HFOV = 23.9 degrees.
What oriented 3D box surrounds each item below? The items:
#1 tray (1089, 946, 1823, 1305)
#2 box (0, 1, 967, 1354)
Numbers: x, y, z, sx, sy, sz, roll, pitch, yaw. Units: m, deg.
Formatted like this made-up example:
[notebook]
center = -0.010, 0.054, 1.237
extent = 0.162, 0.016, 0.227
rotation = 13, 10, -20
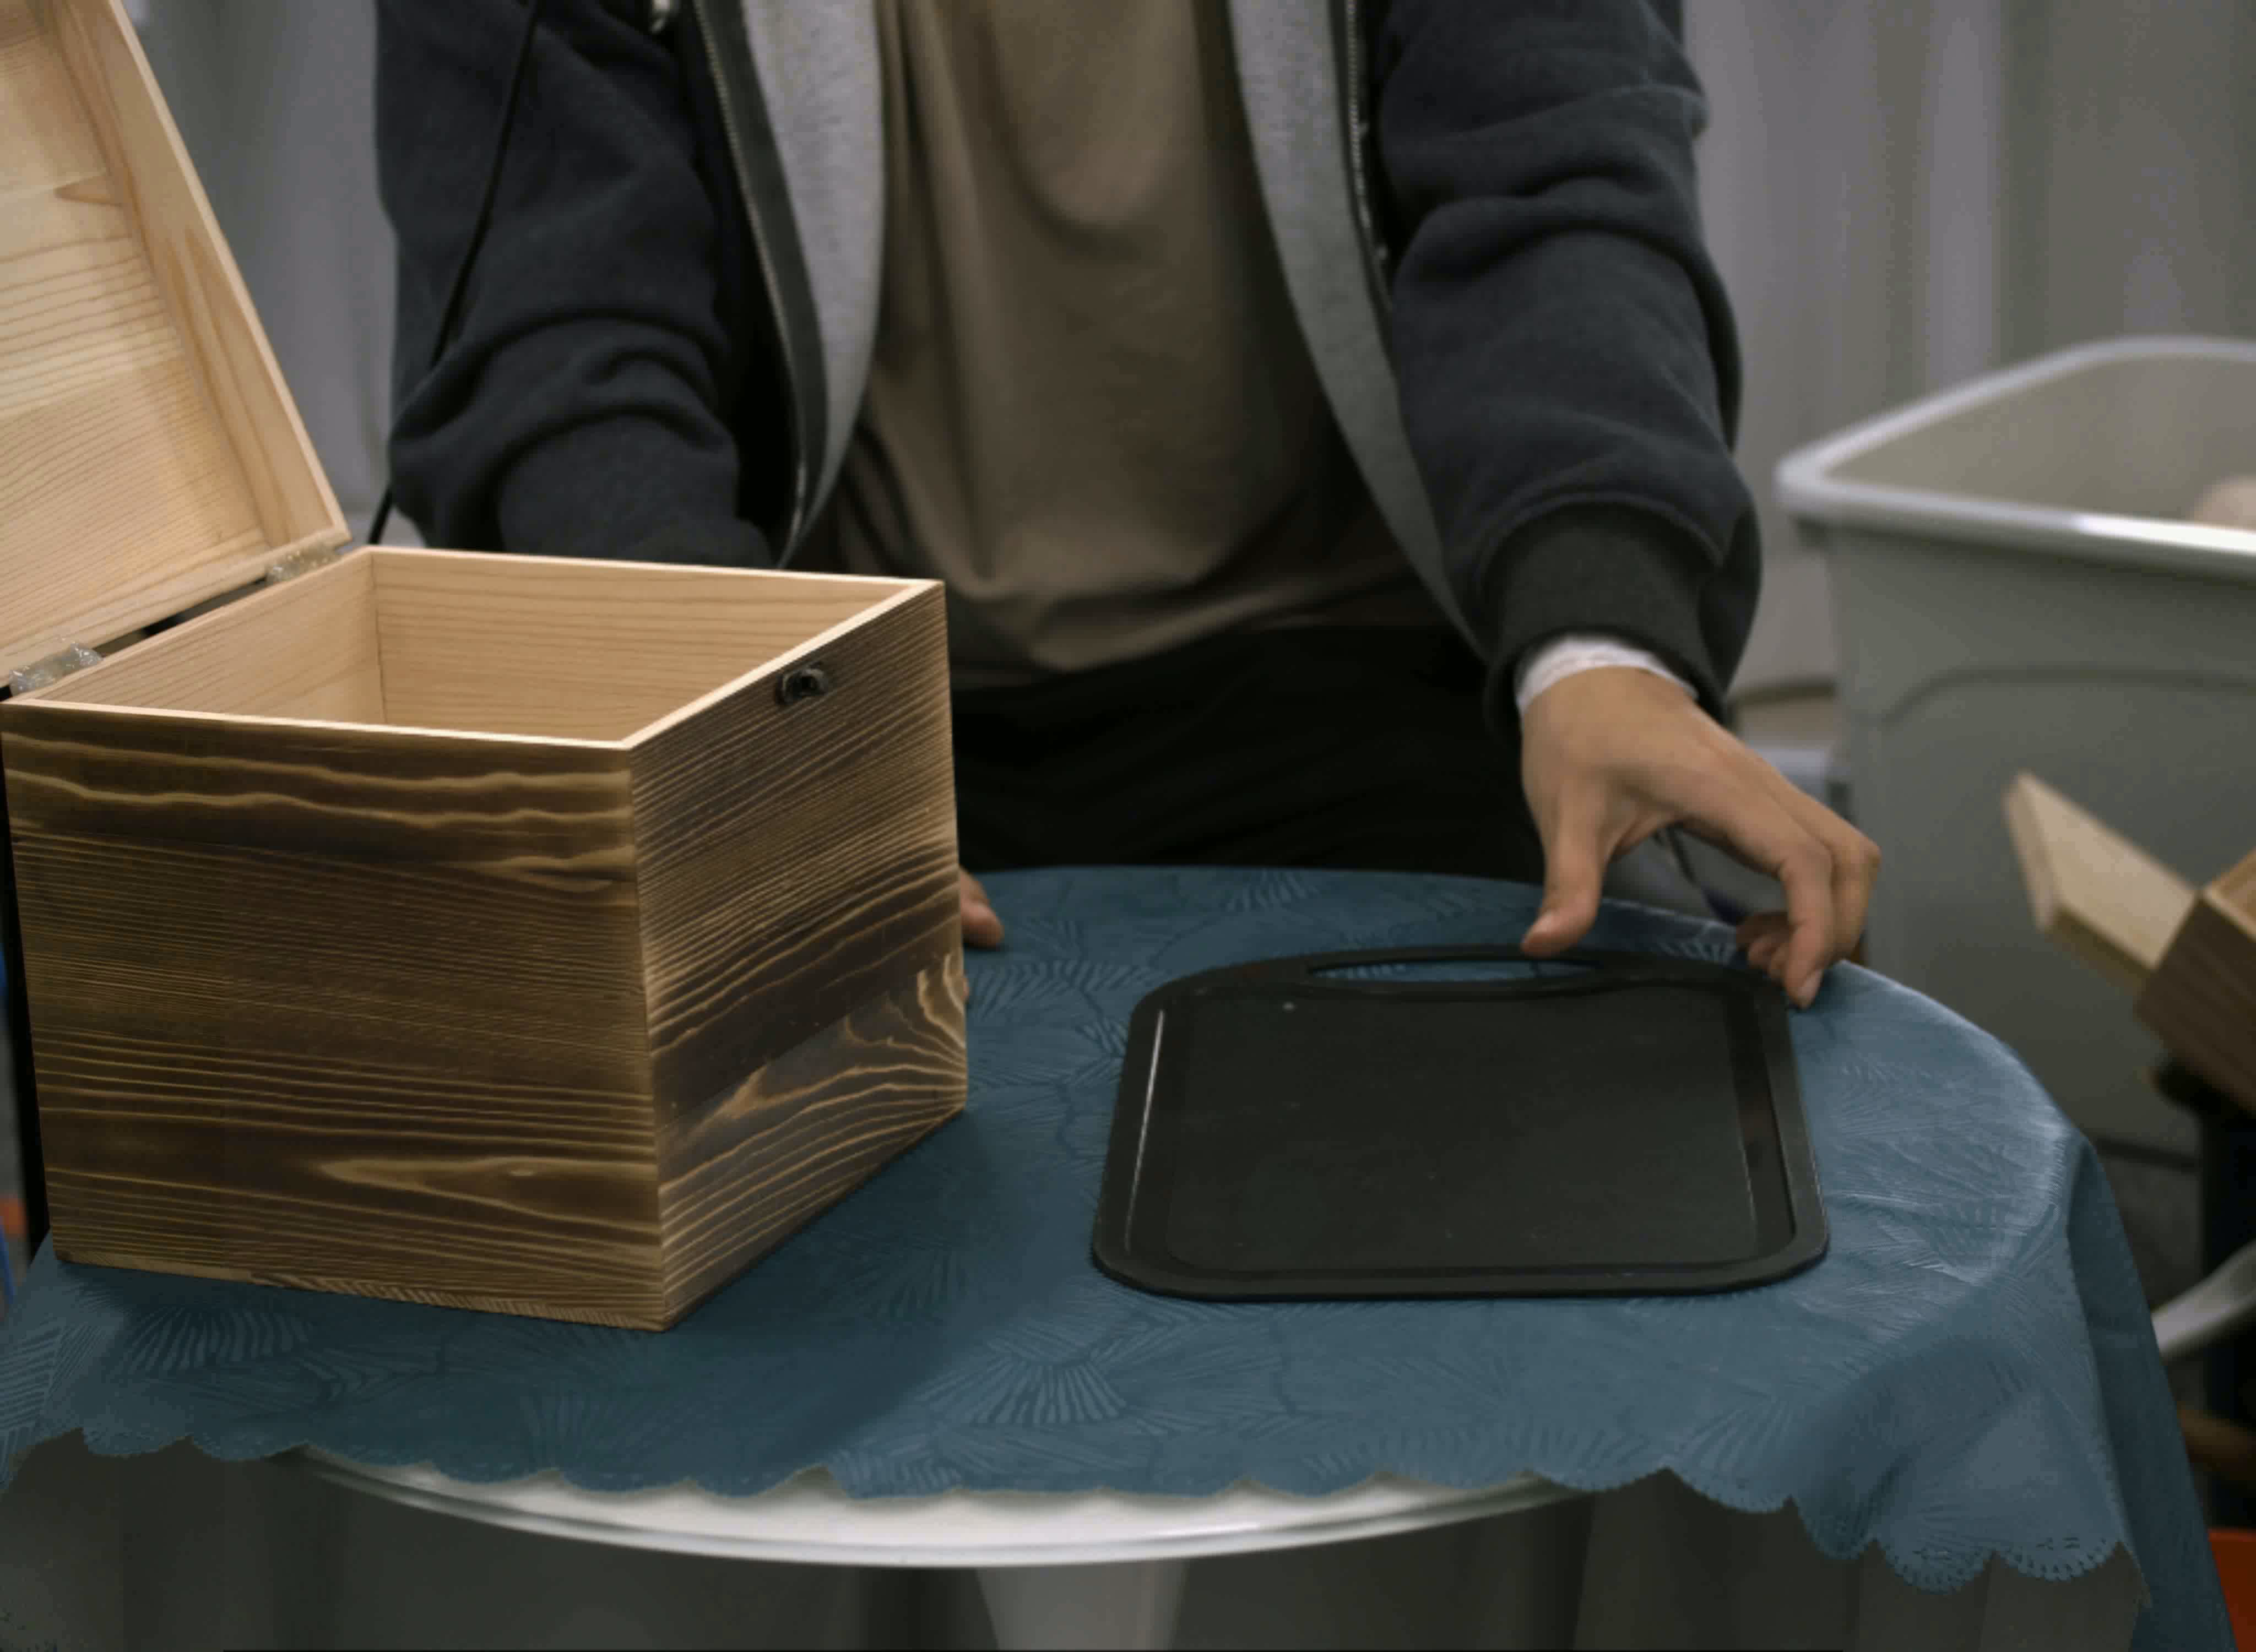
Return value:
[tray]
center = 0.098, 0.085, 1.614
extent = 0.211, 0.010, 0.326
rotation = -1, 16, 4
[box]
center = -0.234, -0.068, 1.569
extent = 0.327, 0.375, 0.206
rotation = 3, 17, 24
